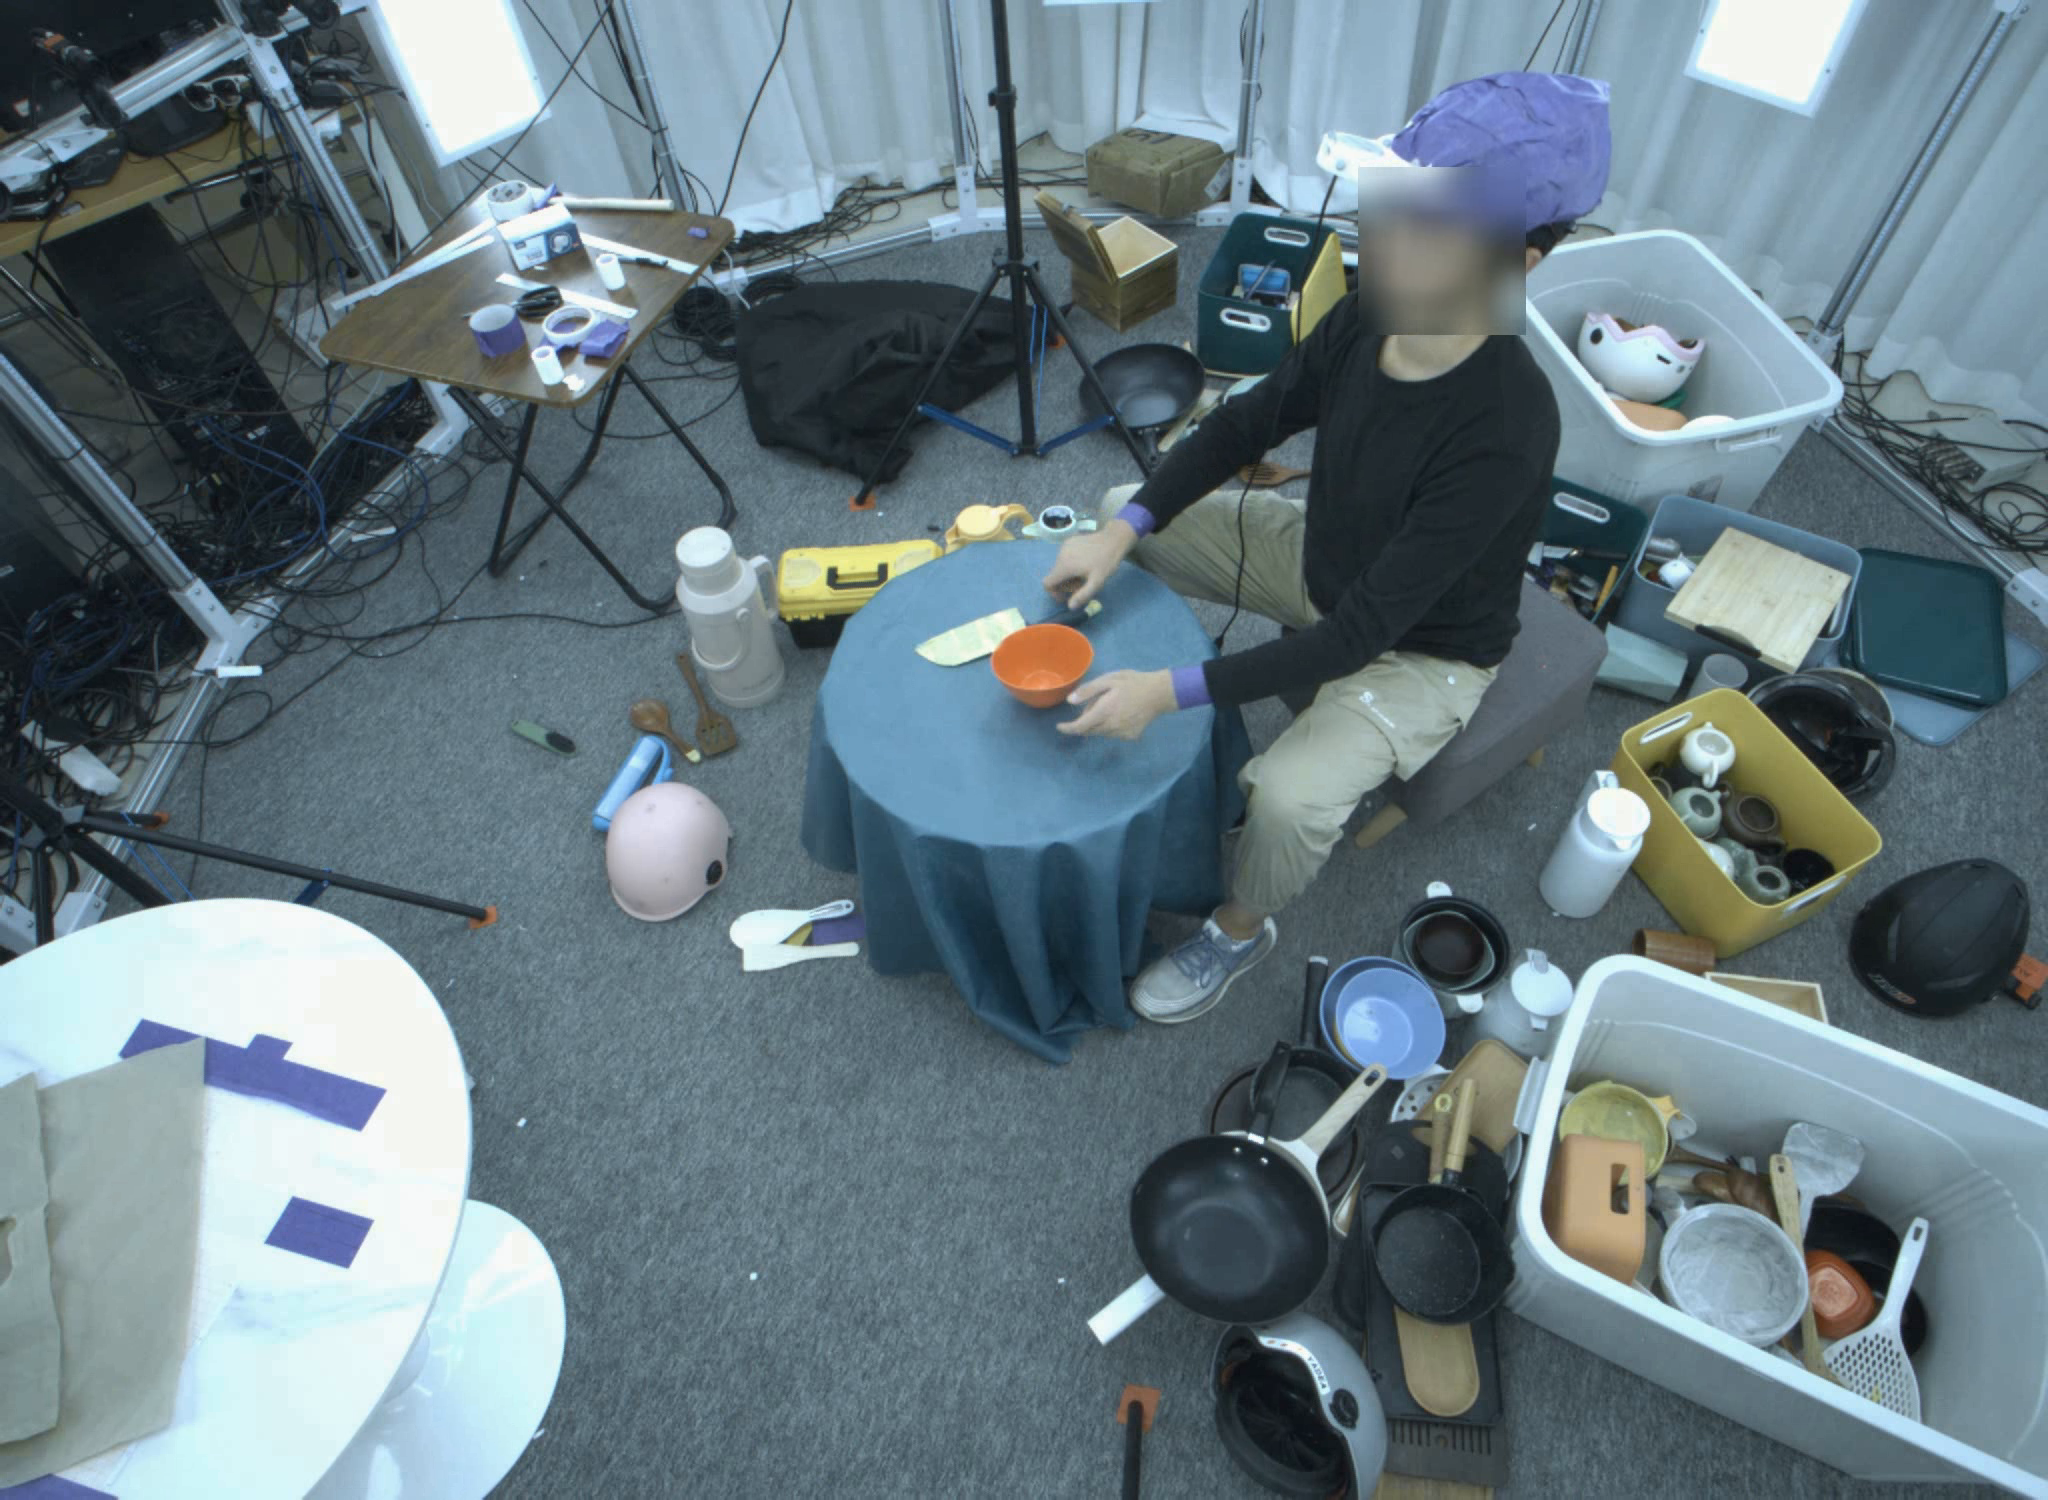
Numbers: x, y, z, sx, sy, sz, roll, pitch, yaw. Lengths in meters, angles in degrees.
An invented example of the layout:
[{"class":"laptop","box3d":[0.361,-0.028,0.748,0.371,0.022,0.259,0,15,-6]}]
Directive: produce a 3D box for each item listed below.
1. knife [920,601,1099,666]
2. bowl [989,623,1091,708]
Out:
[{"class":"knife","box3d":[-0.024,-0.189,1.910,0.291,0.027,0.079,-17,57,-9]},{"class":"bowl","box3d":[0.026,-0.110,1.798,0.148,0.106,0.146,-2,54,3]}]
